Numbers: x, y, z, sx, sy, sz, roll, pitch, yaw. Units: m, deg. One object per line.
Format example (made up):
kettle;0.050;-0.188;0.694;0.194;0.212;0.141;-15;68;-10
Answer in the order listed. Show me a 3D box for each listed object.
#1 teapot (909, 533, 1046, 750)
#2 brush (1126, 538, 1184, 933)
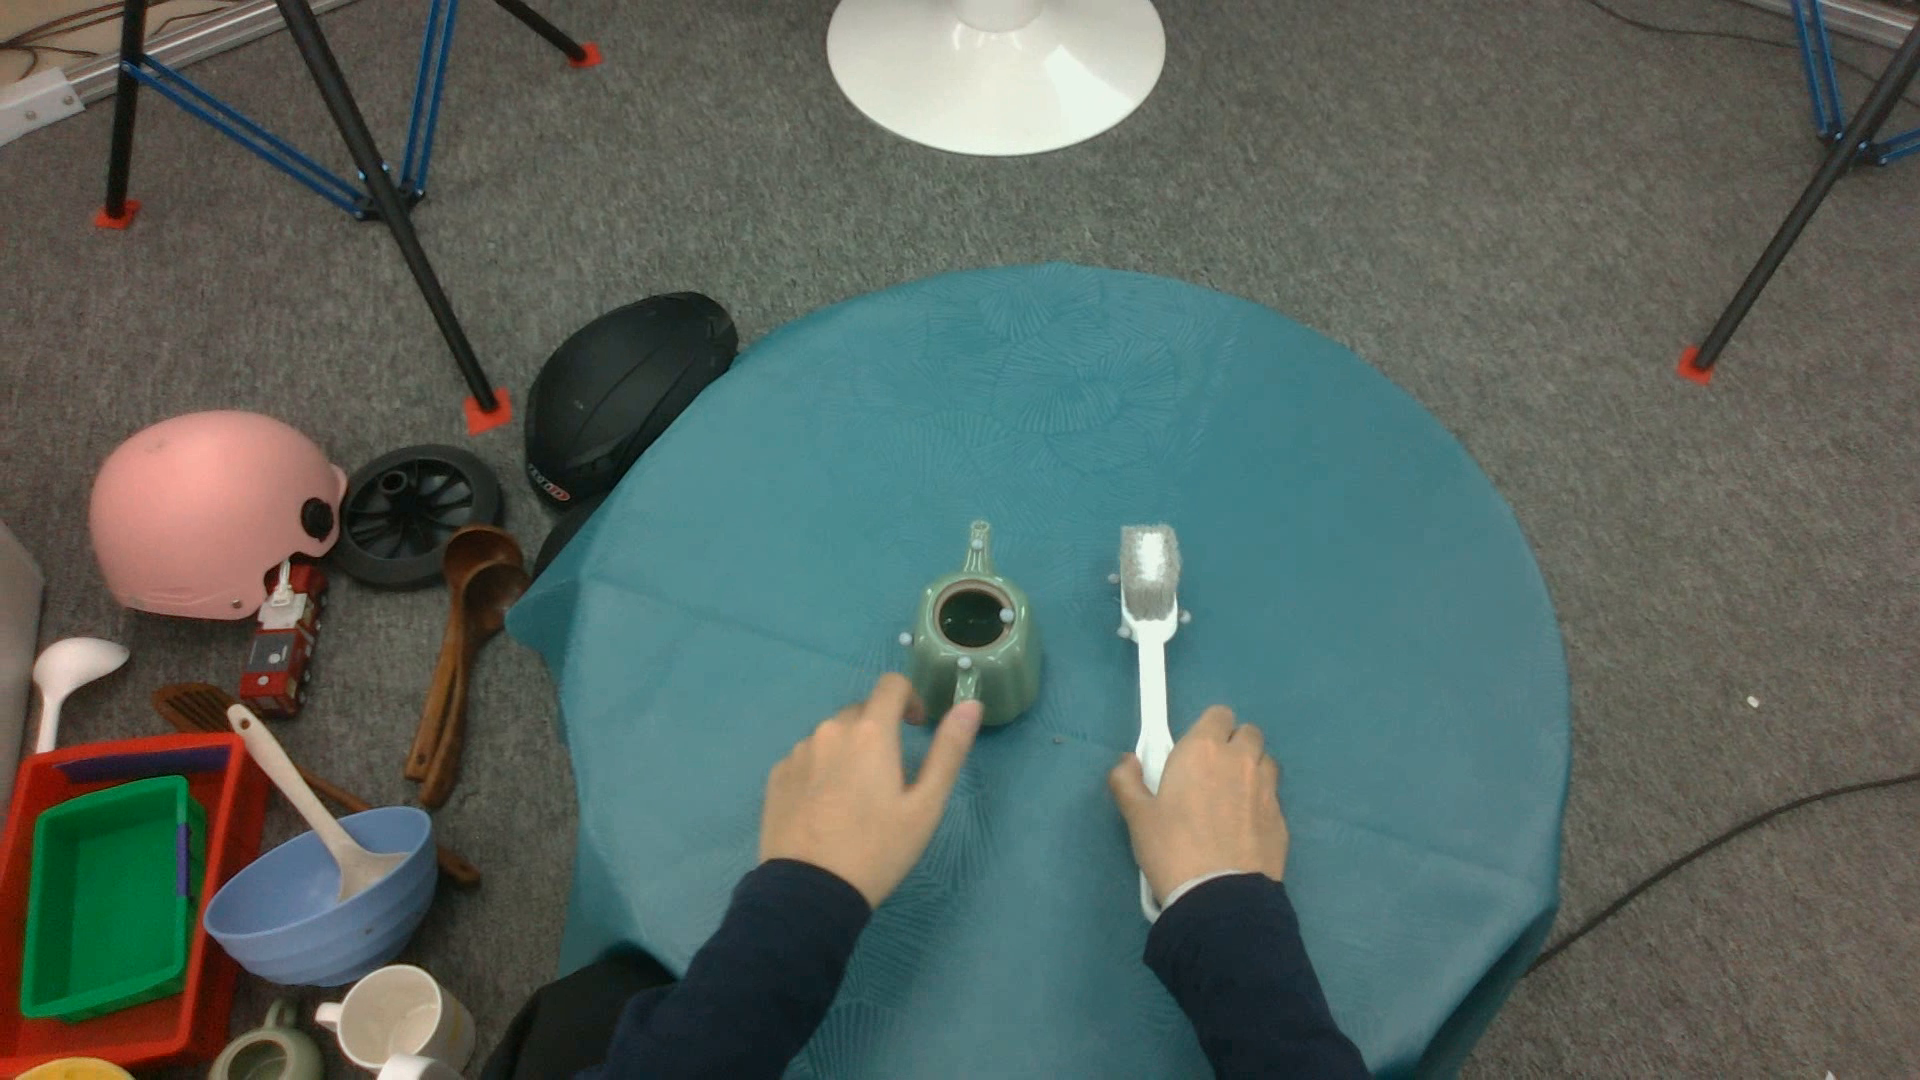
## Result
teapot;0.010;0.068;0.798;0.080;0.075;0.133;3;57;3
brush;0.109;0.098;0.779;0.034;0.050;0.245;2;51;7
